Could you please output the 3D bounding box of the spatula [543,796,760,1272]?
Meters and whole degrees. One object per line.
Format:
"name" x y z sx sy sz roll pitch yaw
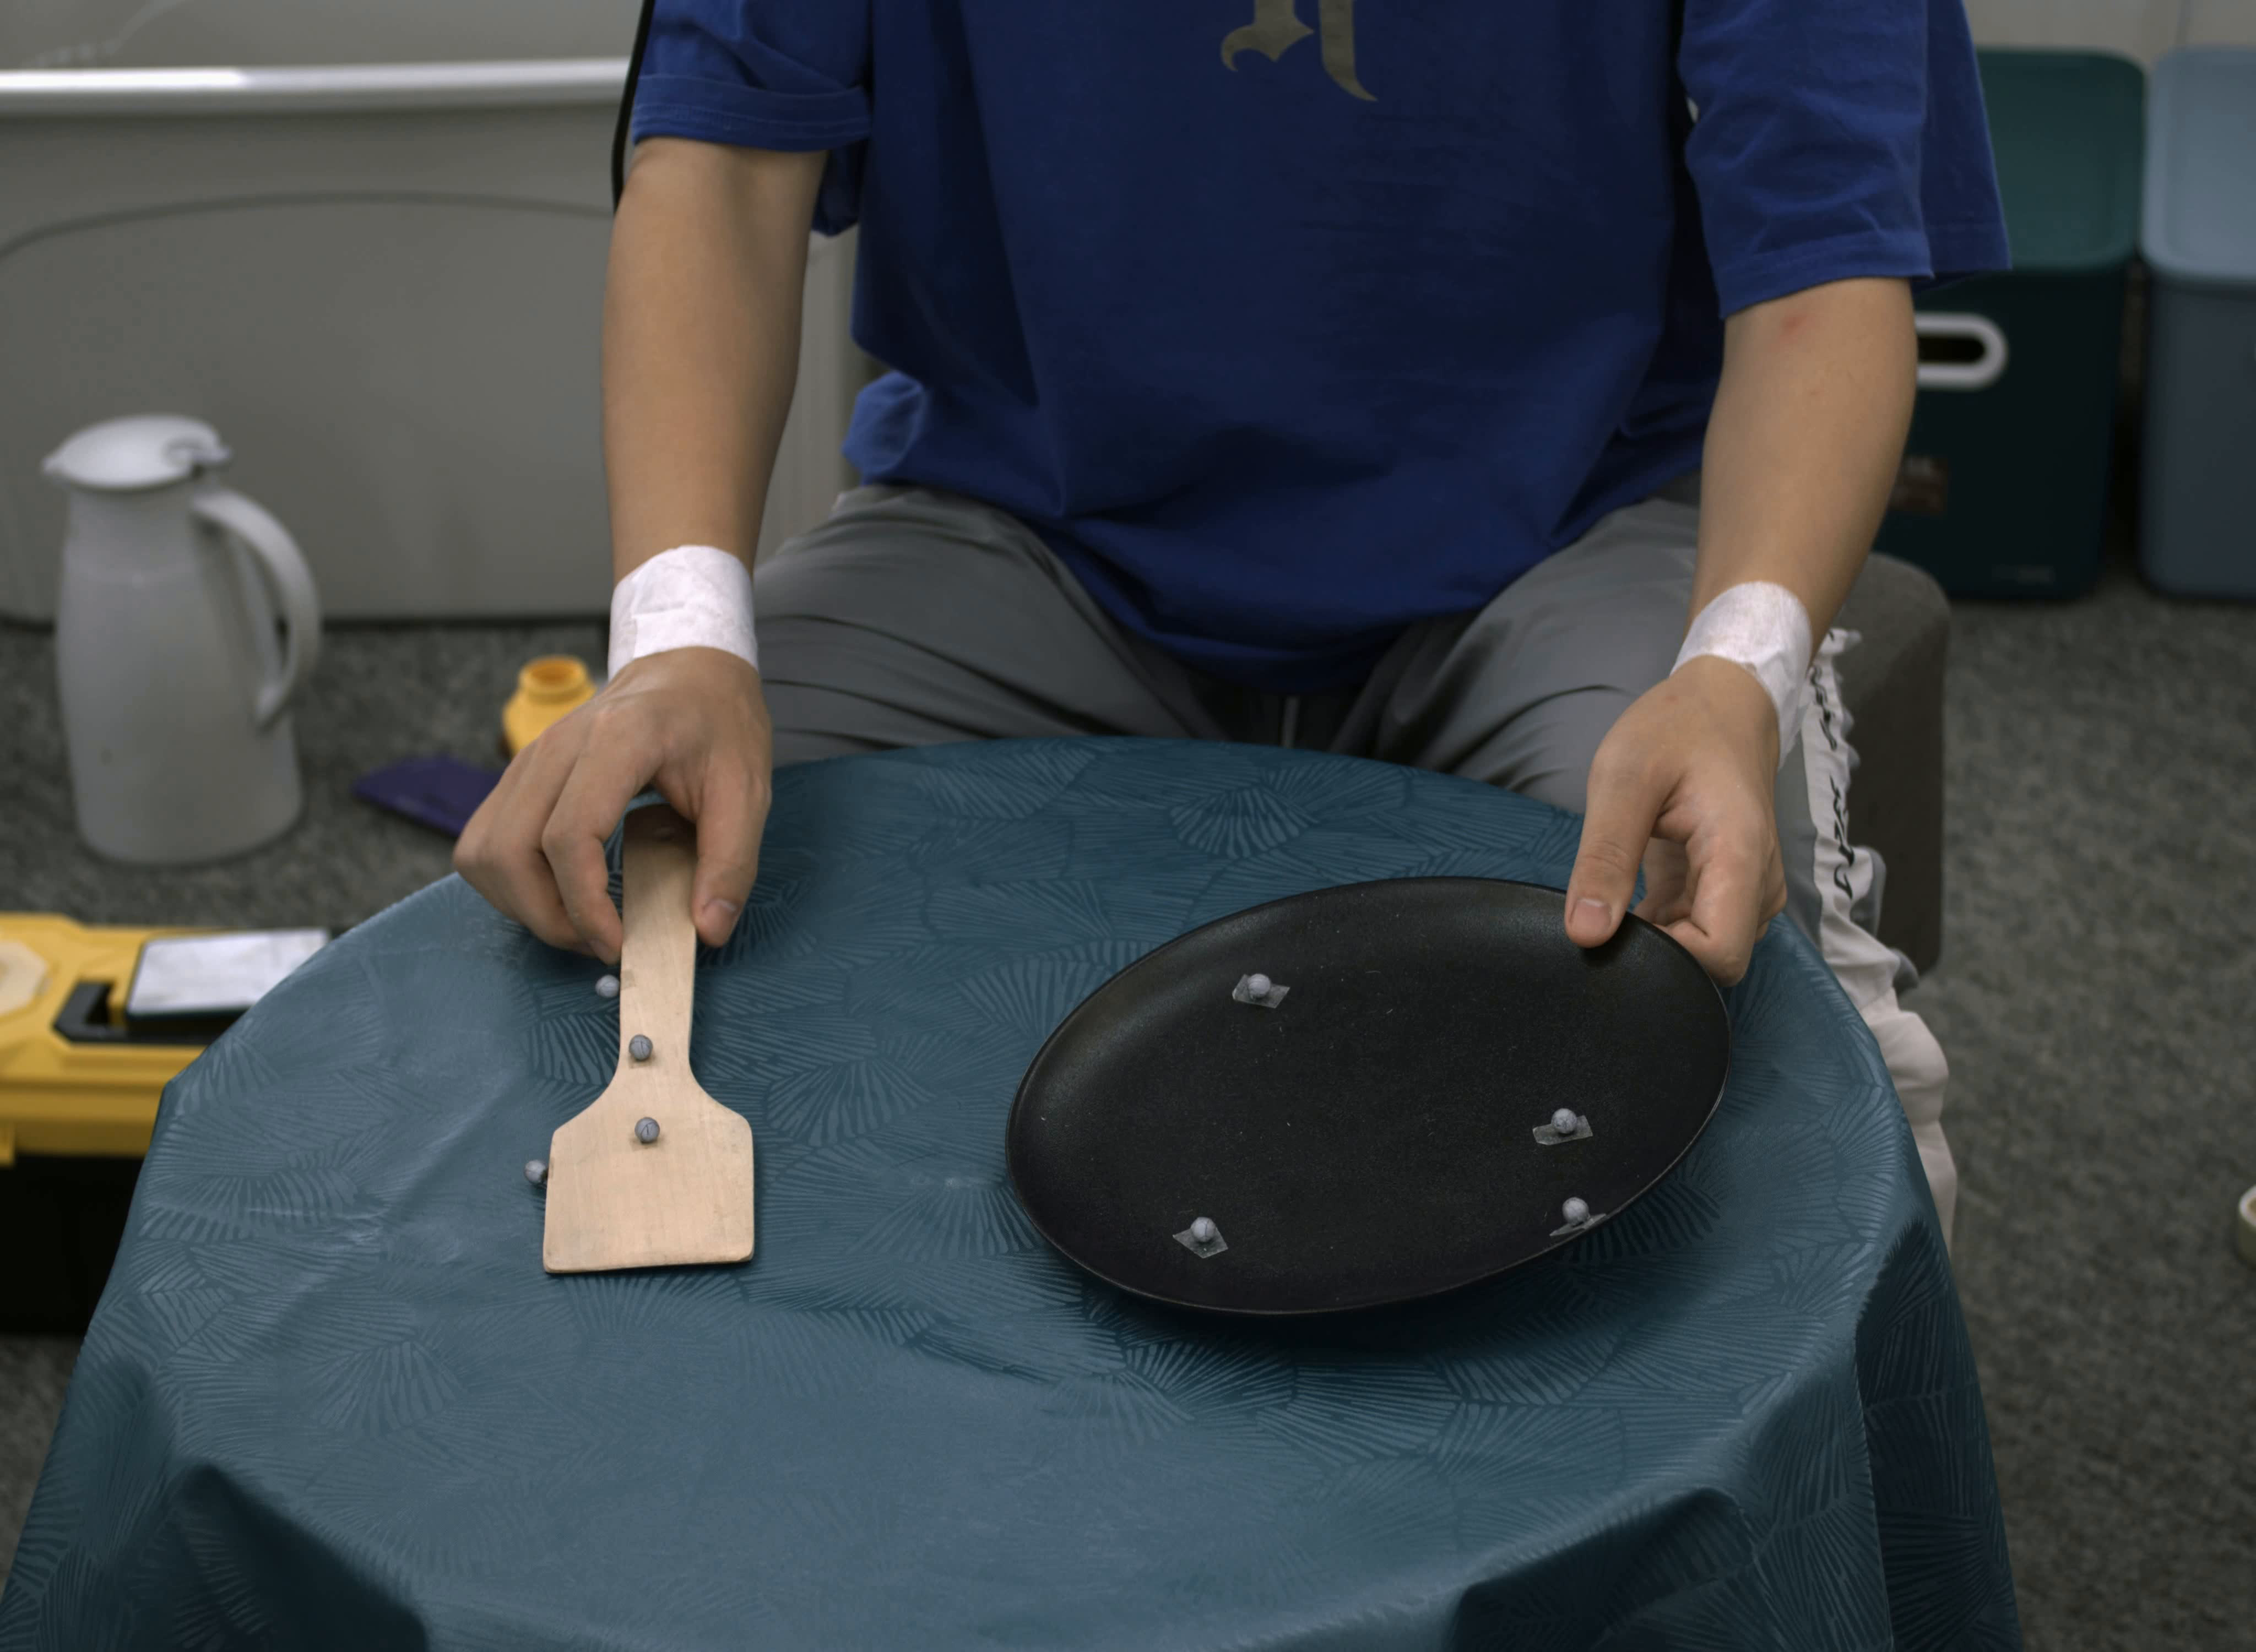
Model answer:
"spatula" -0.164 0.068 1.956 0.072 0.010 0.298 -4 32 -1

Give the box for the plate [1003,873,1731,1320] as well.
"plate" 0.079 0.092 1.854 0.243 0.023 0.248 -9 31 6
